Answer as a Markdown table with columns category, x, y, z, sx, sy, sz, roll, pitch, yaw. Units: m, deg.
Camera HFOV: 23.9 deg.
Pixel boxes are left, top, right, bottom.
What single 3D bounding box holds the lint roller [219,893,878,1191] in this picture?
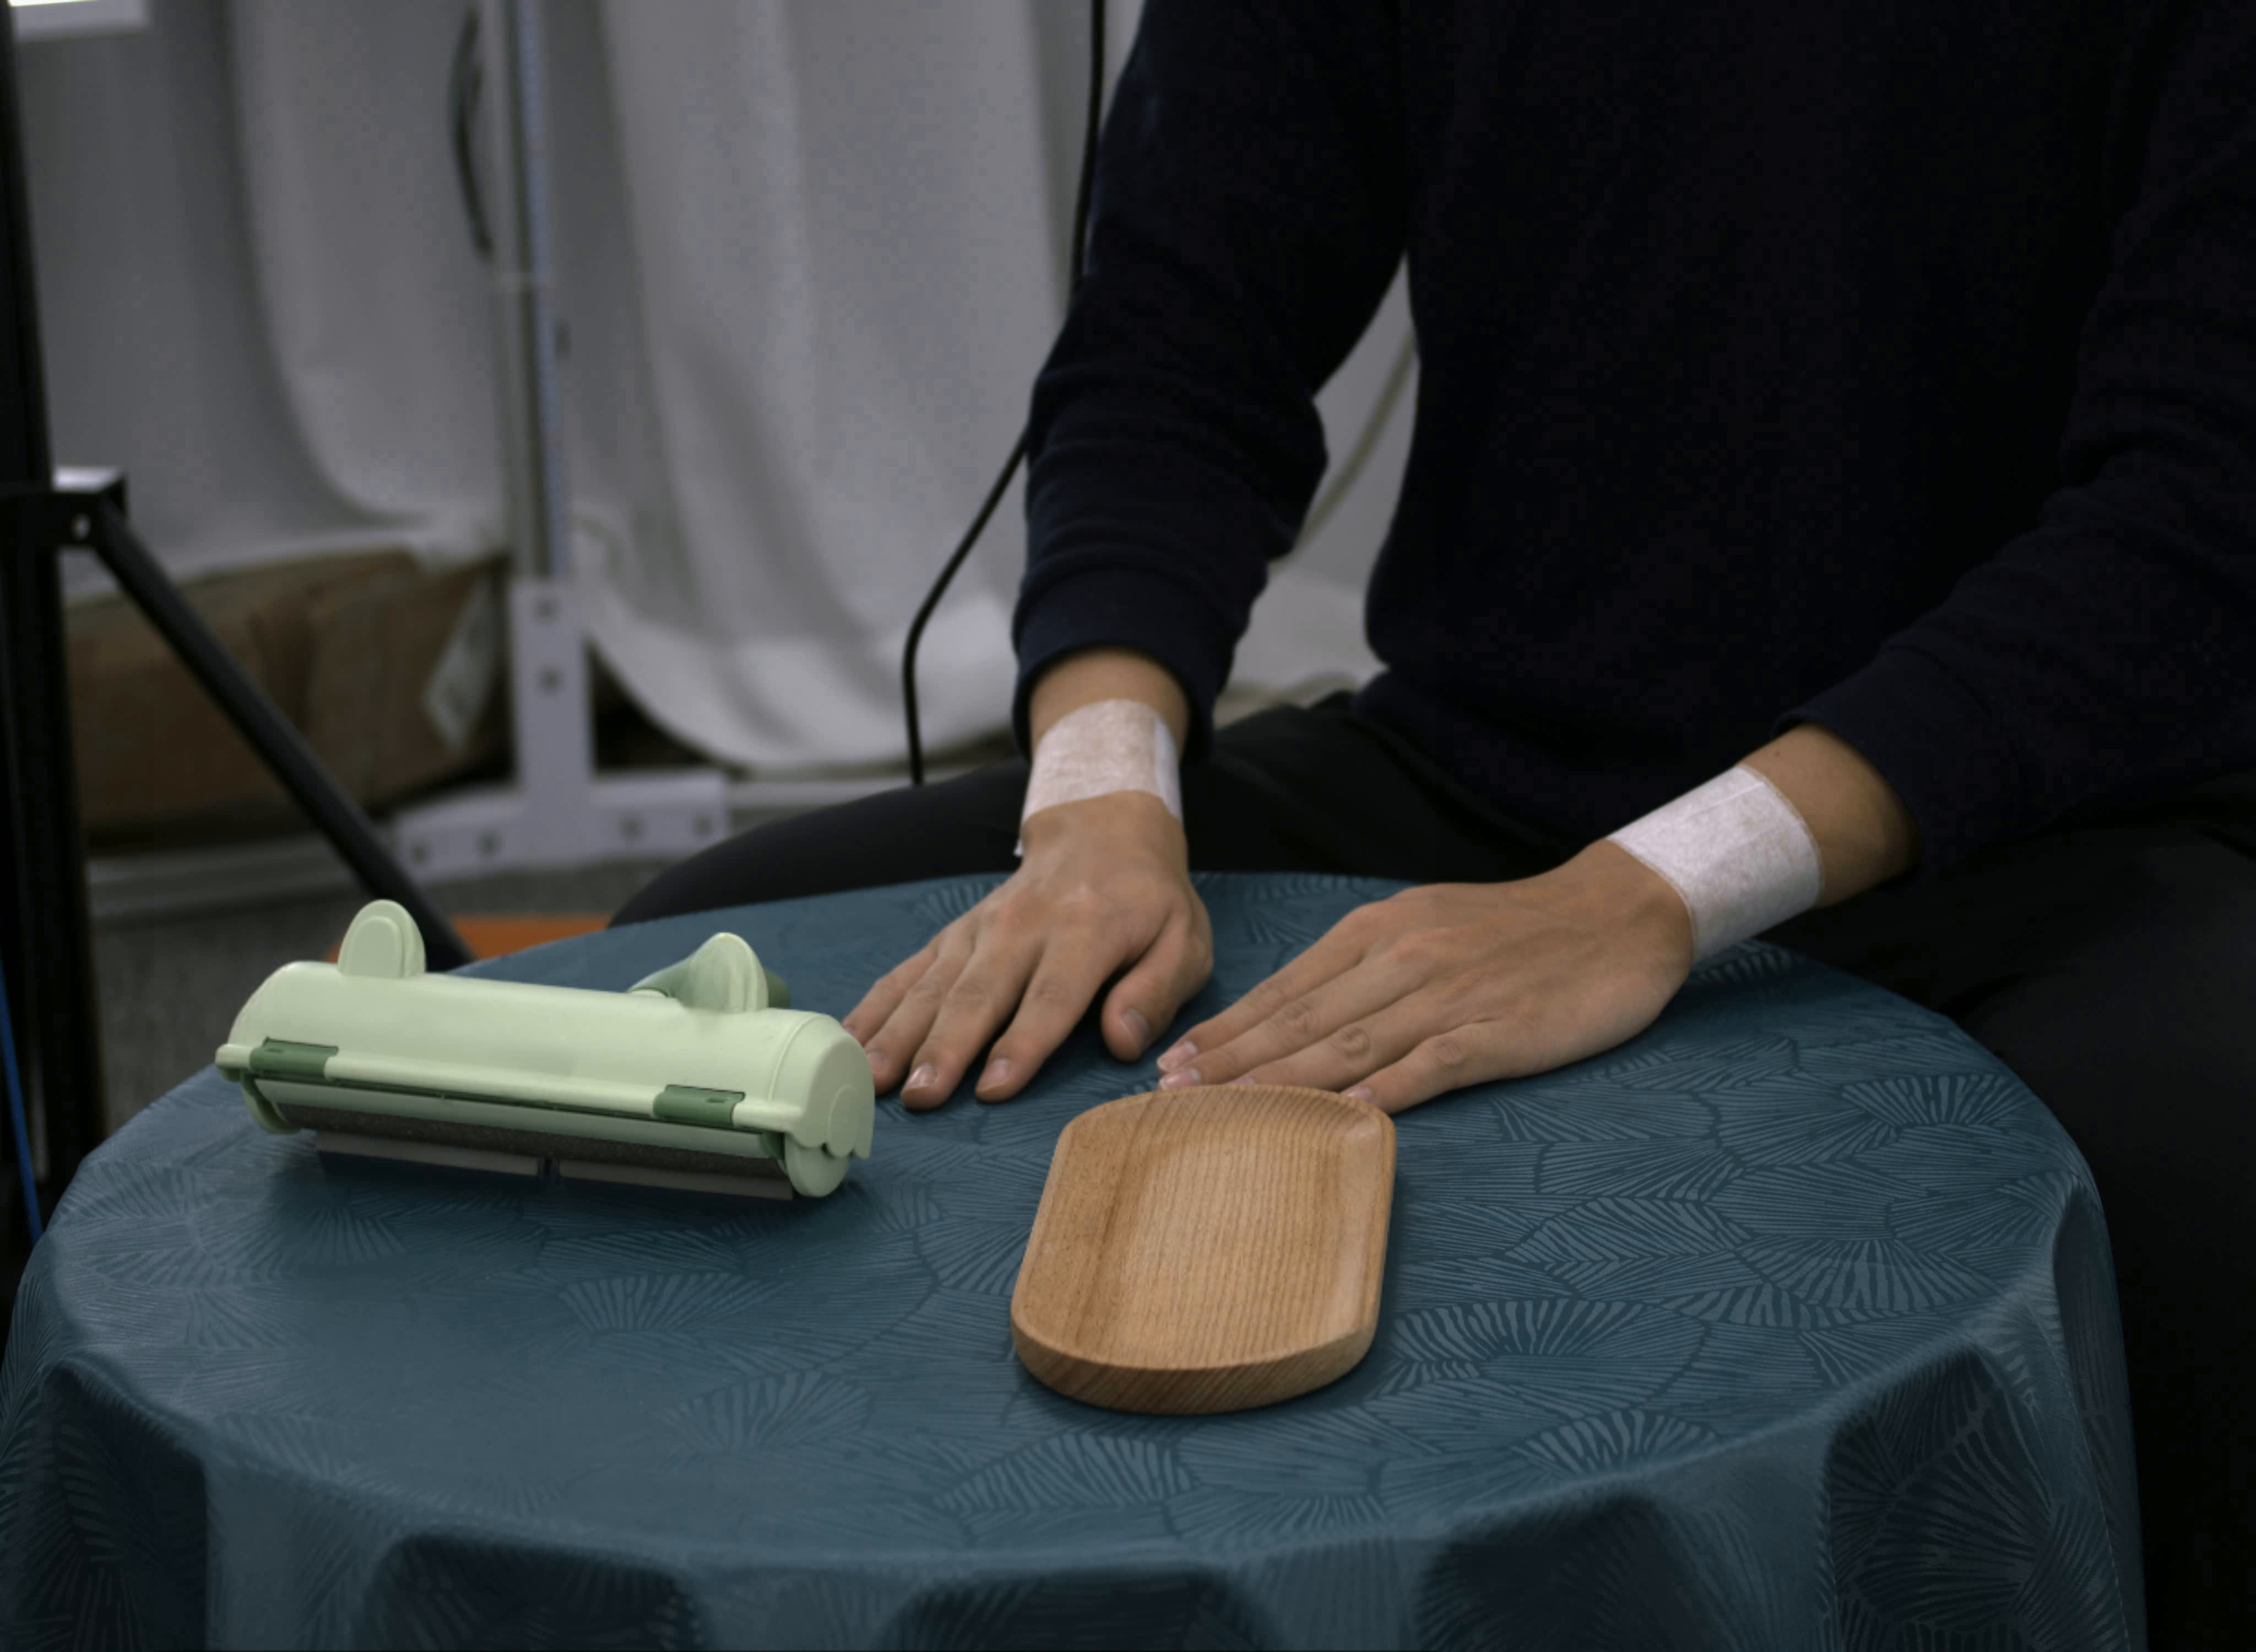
| category | x | y | z | sx | sy | sz | roll | pitch | yaw |
| --- | --- | --- | --- | --- | --- | --- | --- | --- | --- |
| lint roller | -0.153 | 0.047 | 1.639 | 0.201 | 0.082 | 0.181 | 5 | 23 | 23 |

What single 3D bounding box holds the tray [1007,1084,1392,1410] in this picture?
| category | x | y | z | sx | sy | sz | roll | pitch | yaw |
| --- | --- | --- | --- | --- | --- | --- | --- | --- | --- |
| tray | 0.023 | 0.116 | 1.496 | 0.101 | 0.020 | 0.231 | -1 | 15 | 5 |
